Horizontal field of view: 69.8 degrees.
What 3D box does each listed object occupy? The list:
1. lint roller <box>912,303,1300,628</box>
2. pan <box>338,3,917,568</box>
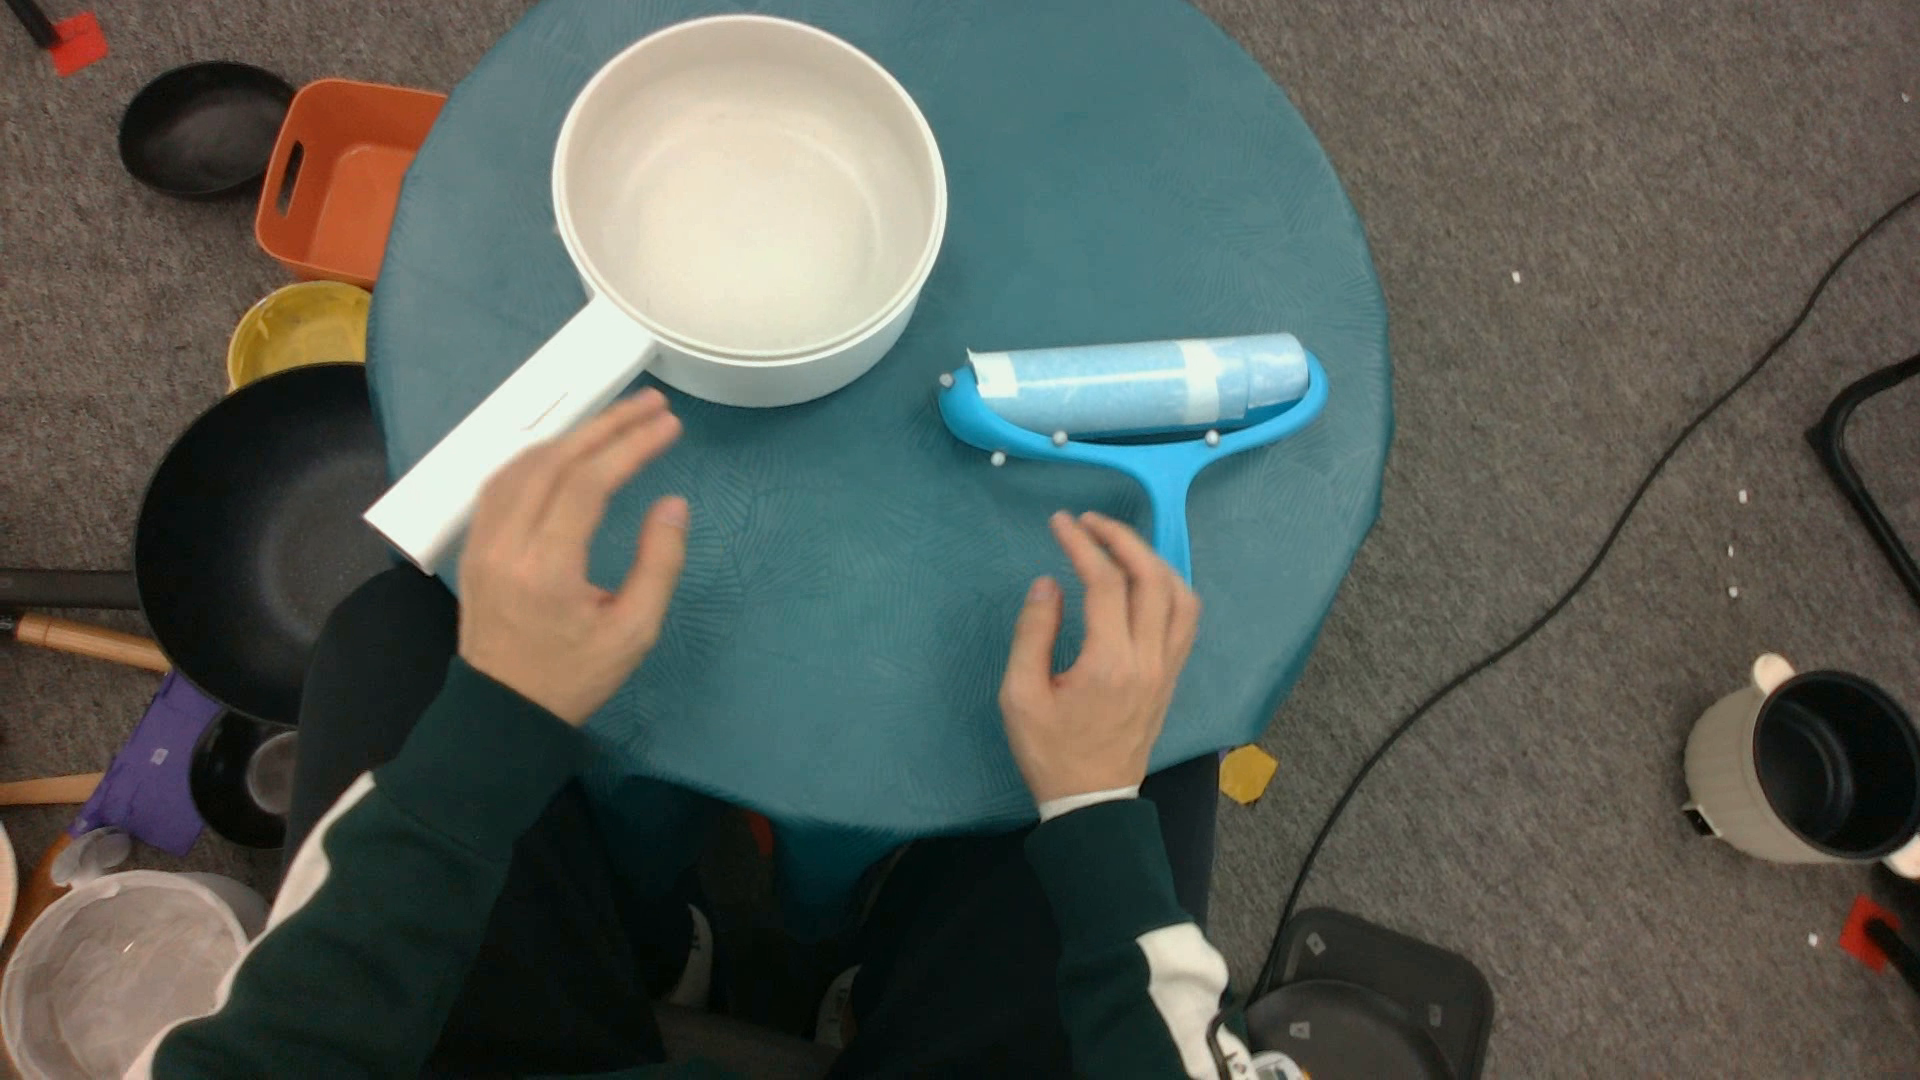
[{"bbox_3d":[0.098,-0.044,0.780,0.229,0.067,0.180,-9,76,-14],"label":"lint roller"},{"bbox_3d":[-0.175,-0.122,0.733,0.201,0.102,0.356,38,73,1],"label":"pan"}]
